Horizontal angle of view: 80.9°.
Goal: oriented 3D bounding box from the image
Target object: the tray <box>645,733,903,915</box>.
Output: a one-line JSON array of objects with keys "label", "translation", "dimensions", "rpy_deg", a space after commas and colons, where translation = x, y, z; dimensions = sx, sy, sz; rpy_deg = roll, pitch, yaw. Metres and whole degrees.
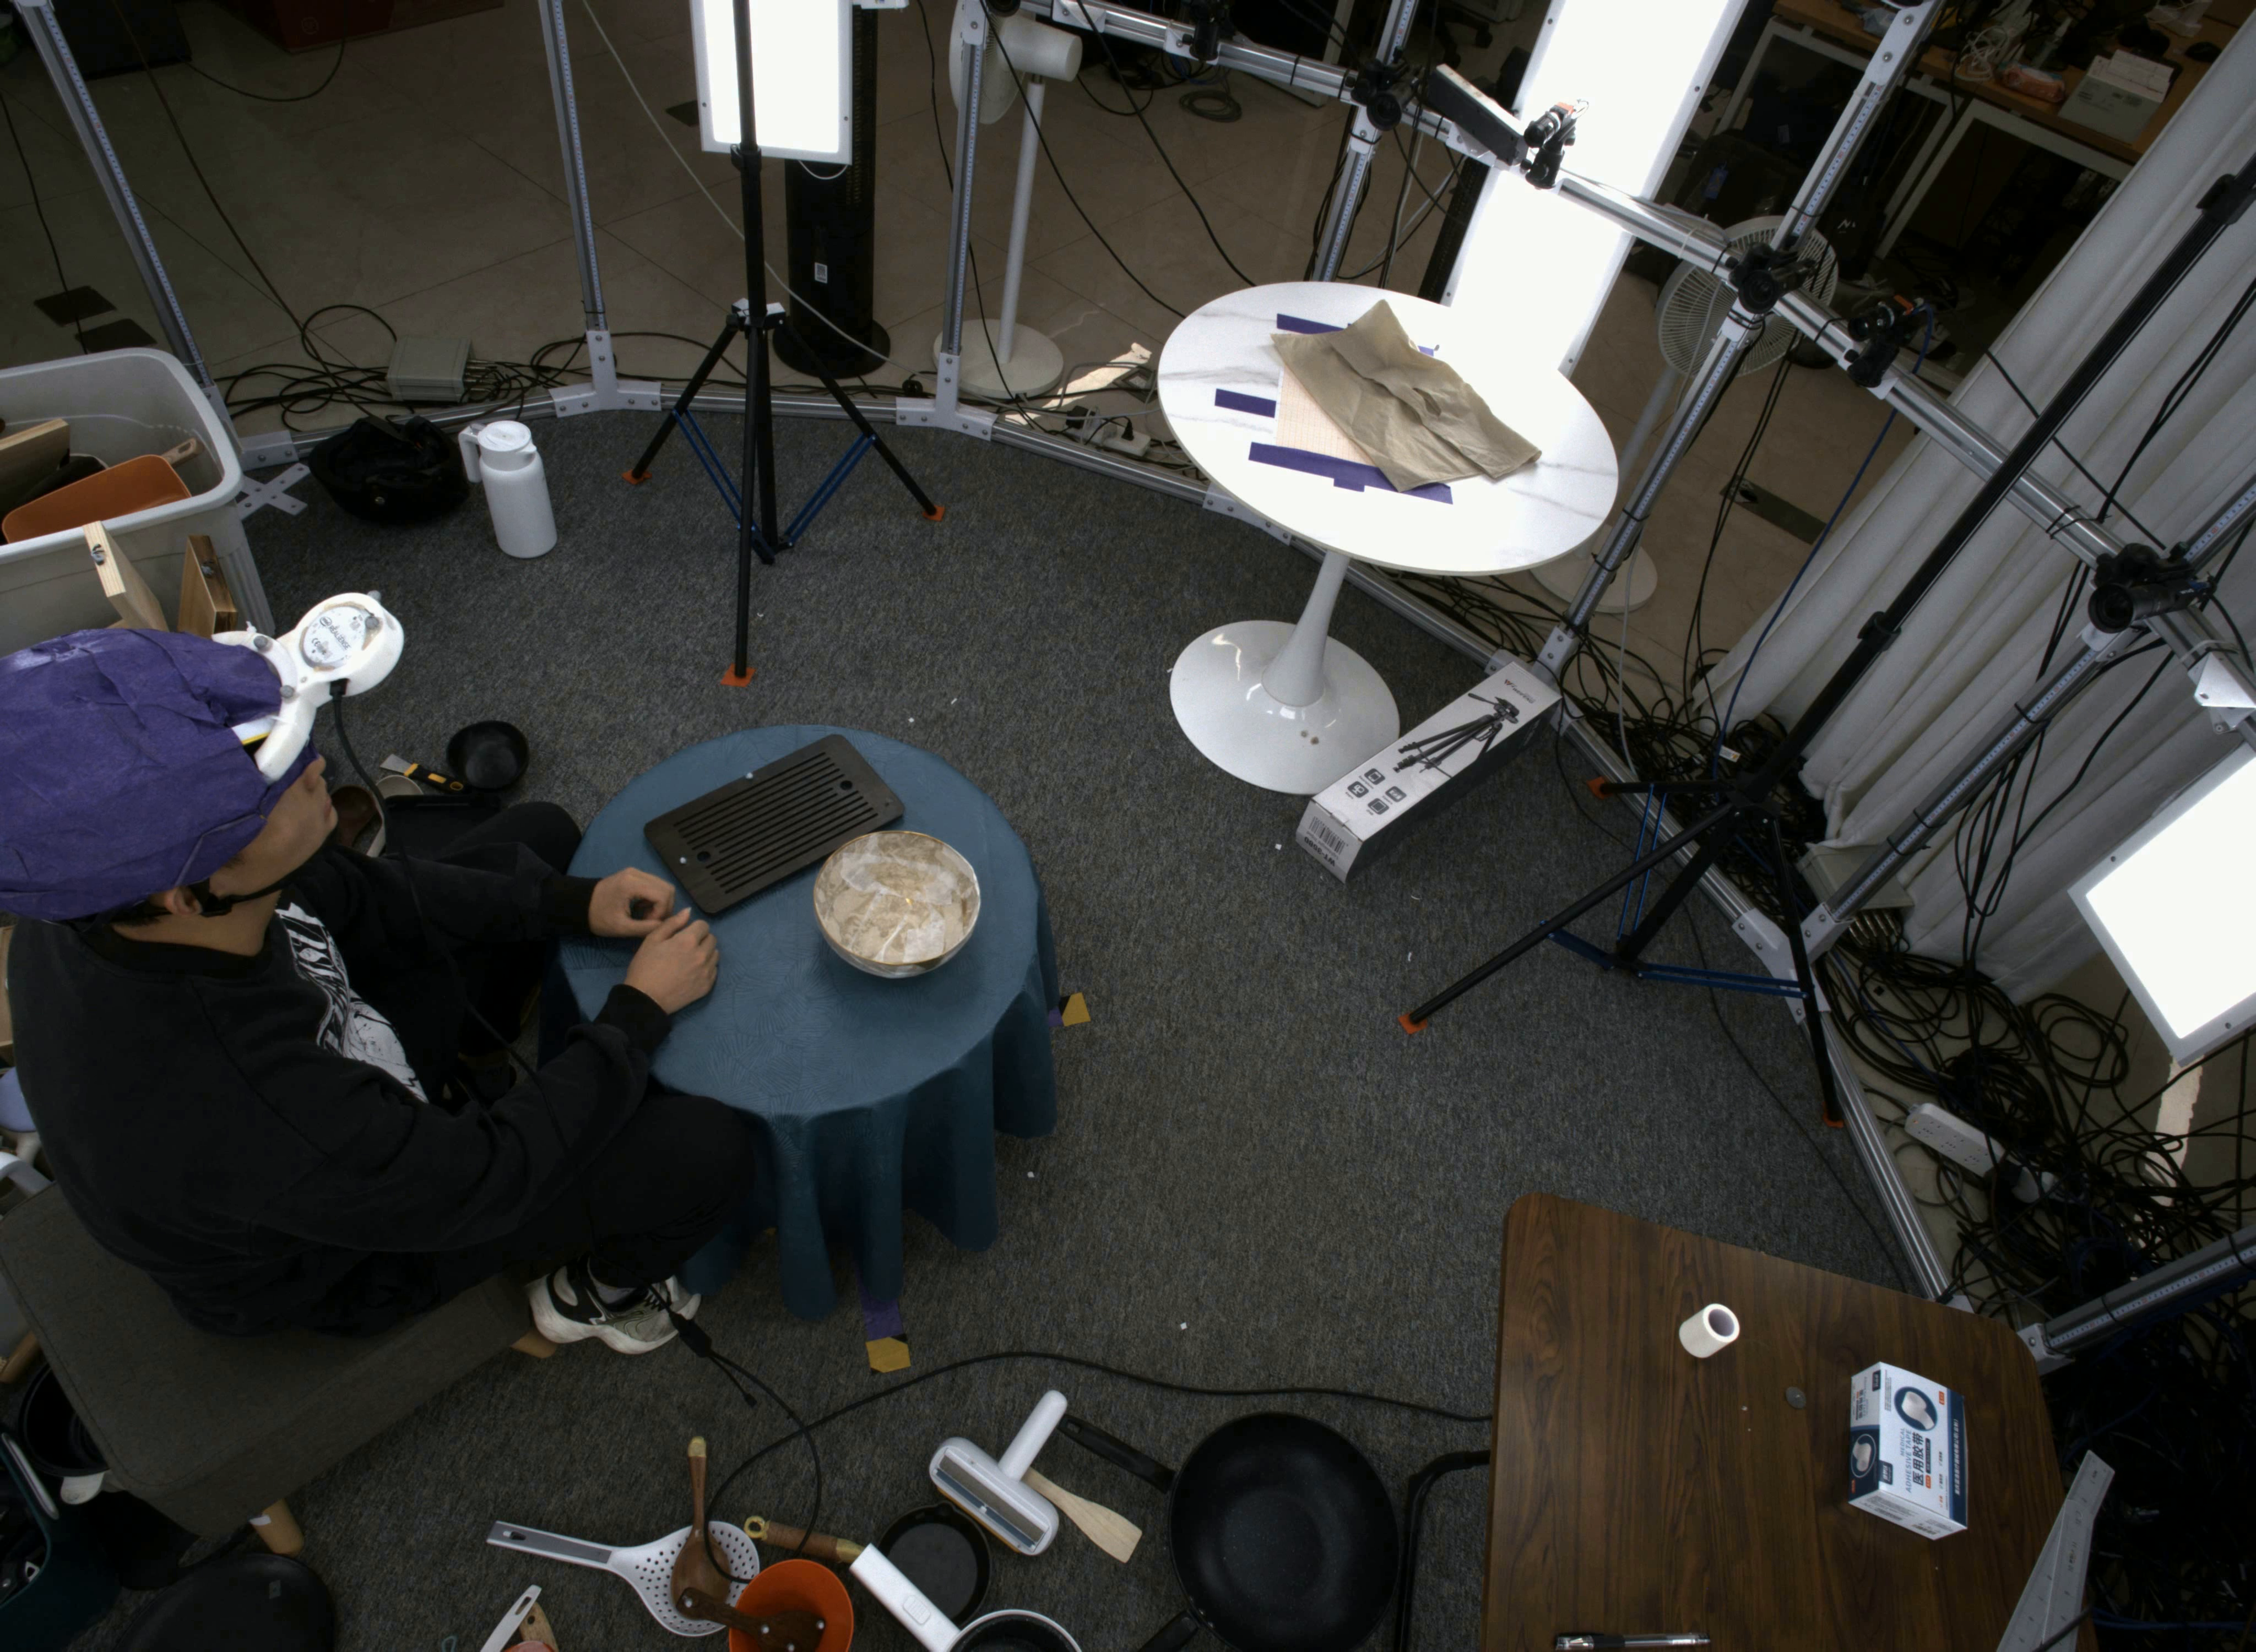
[{"label": "tray", "translation": [-0.465, -0.008, 1.713], "dimensions": [0.307, 0.019, 0.166], "rpy_deg": [-31, 67, -31]}]

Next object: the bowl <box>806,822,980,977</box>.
[{"label": "bowl", "translation": [-0.293, 0.106, 1.624], "dimensions": [0.214, 0.096, 0.211], "rpy_deg": [8, 53, -9]}]
